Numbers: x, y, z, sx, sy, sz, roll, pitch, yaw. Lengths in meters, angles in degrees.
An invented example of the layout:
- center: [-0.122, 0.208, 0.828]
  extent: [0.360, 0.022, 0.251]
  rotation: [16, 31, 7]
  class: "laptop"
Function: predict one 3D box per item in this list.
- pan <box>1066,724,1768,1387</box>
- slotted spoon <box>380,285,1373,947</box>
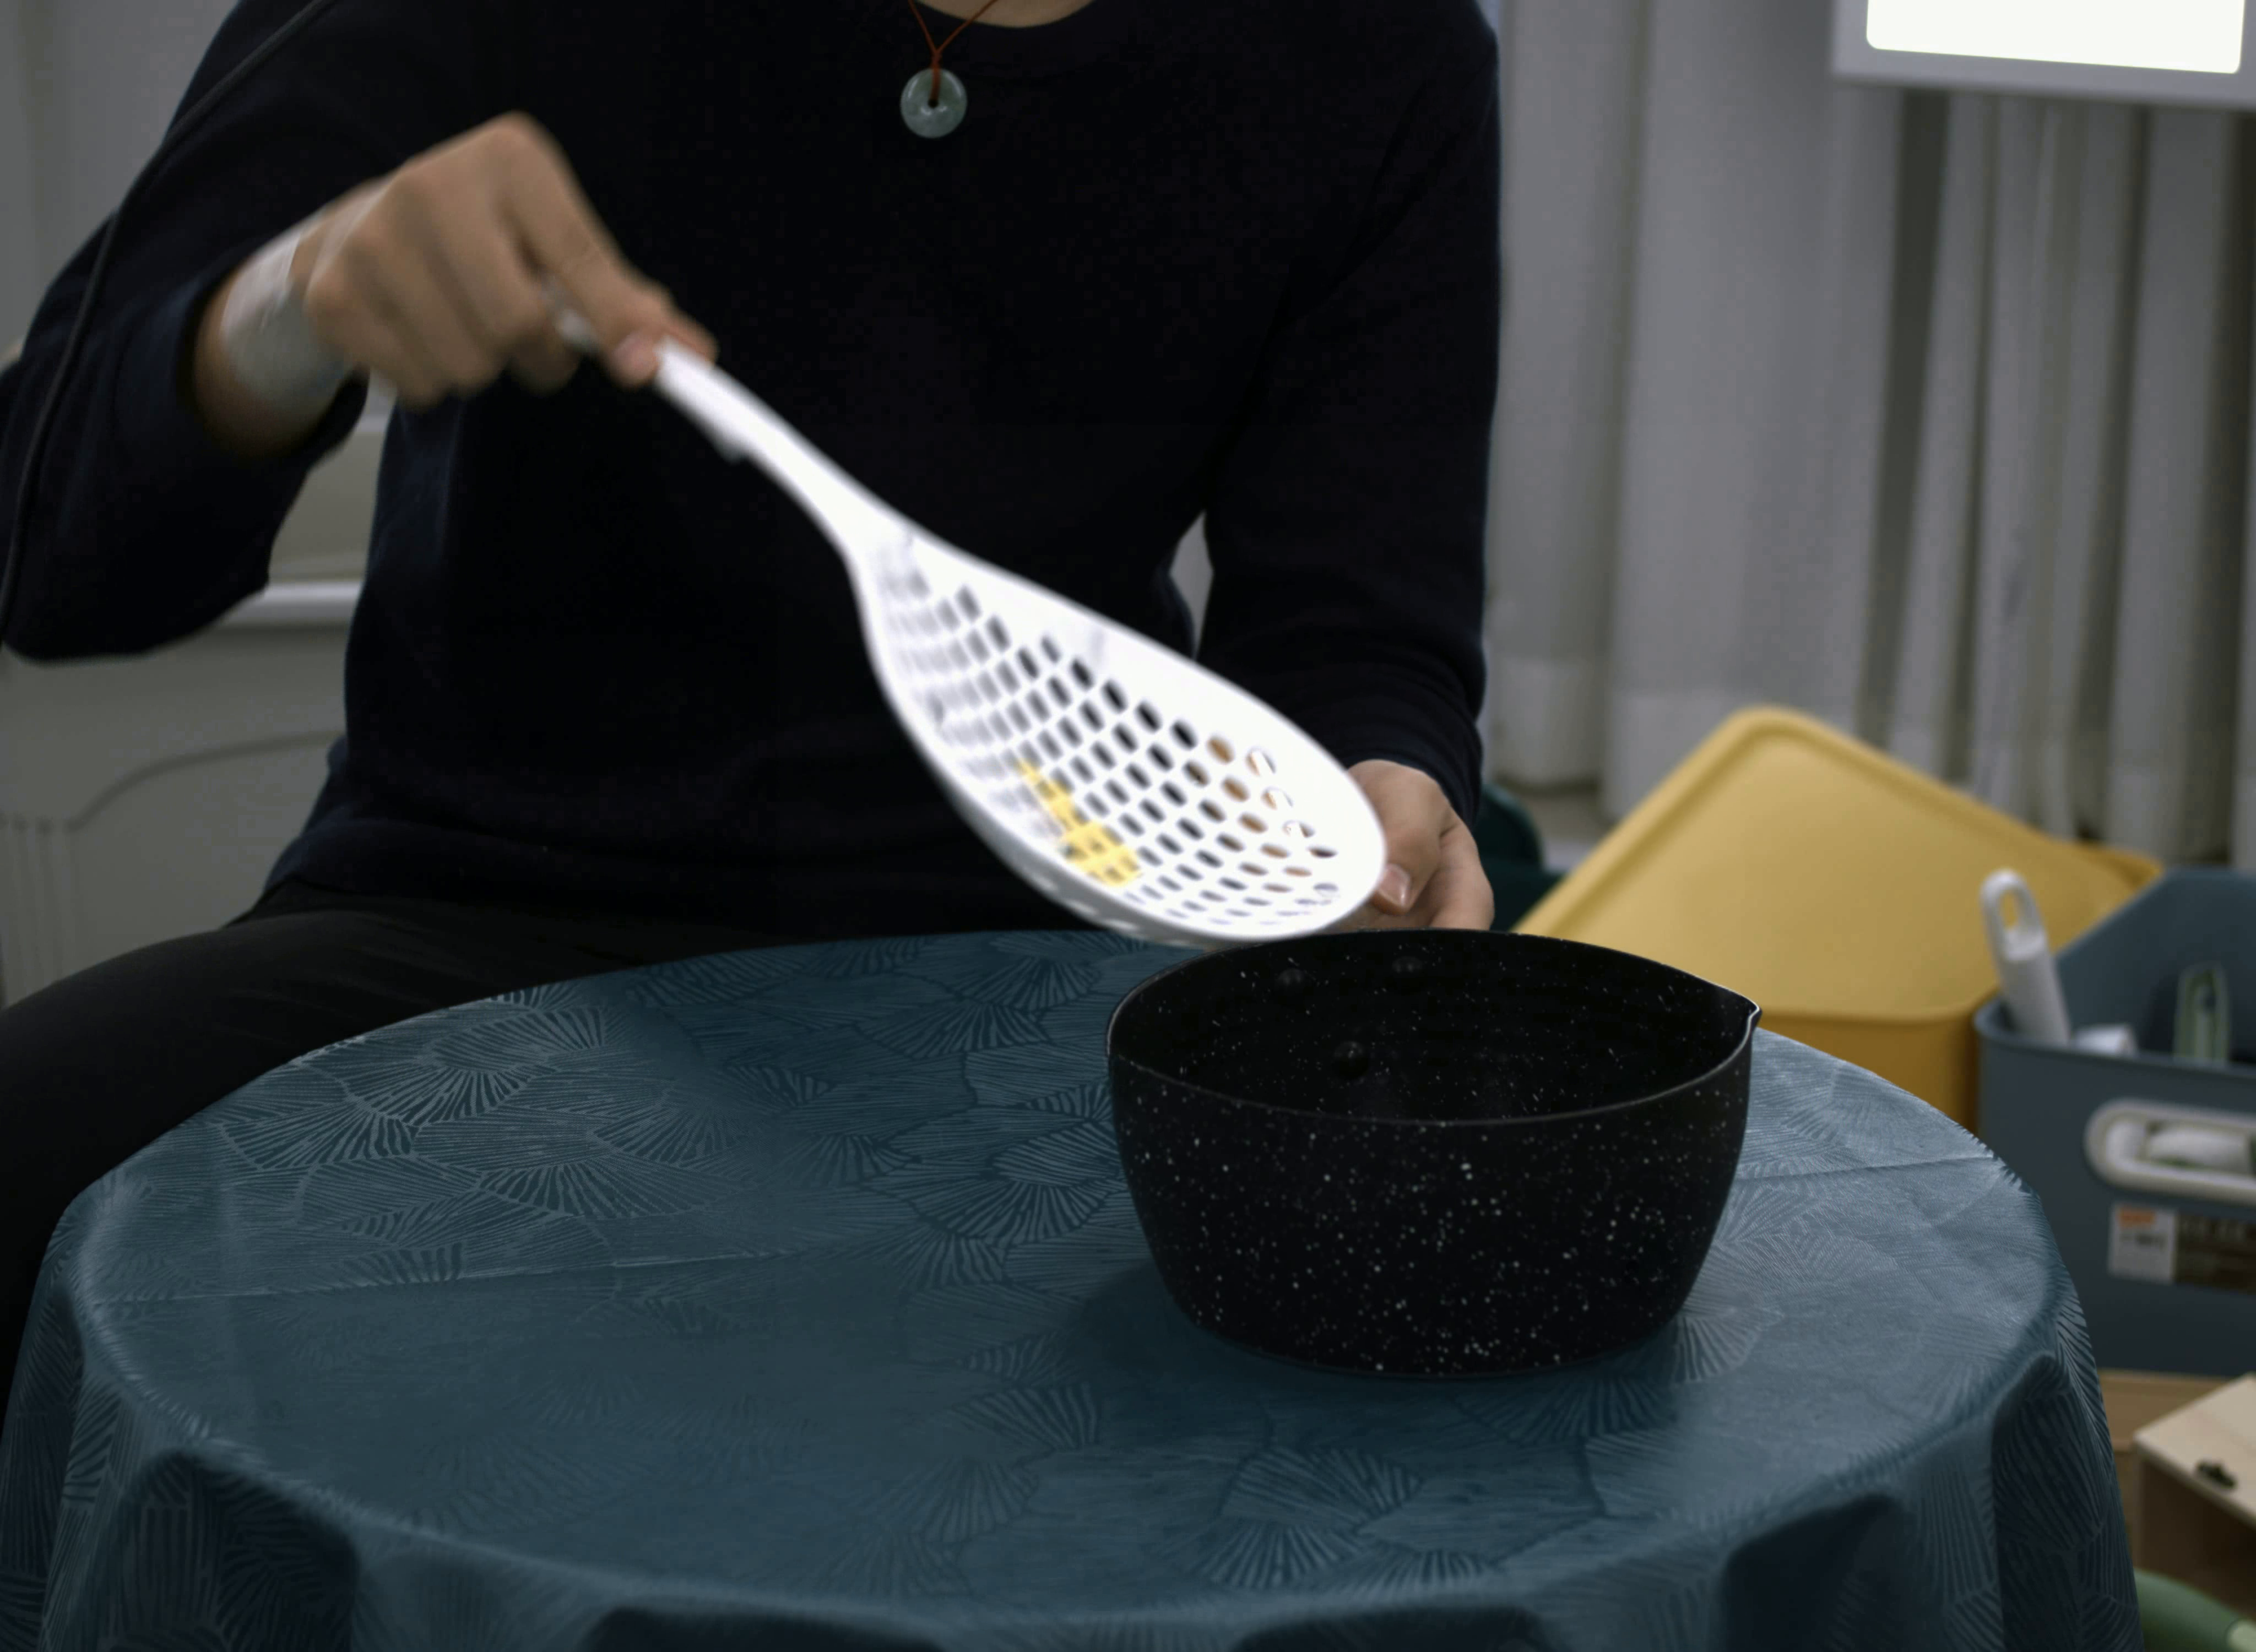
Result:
- center: [0.068, 0.063, 1.598]
  extent: [0.207, 0.109, 0.339]
  rotation: [-5, 18, -14]
  class: "pan"
- center: [-0.081, -0.068, 1.465]
  extent: [0.344, 0.050, 0.137]
  rotation: [42, 34, 20]
  class: "slotted spoon"
